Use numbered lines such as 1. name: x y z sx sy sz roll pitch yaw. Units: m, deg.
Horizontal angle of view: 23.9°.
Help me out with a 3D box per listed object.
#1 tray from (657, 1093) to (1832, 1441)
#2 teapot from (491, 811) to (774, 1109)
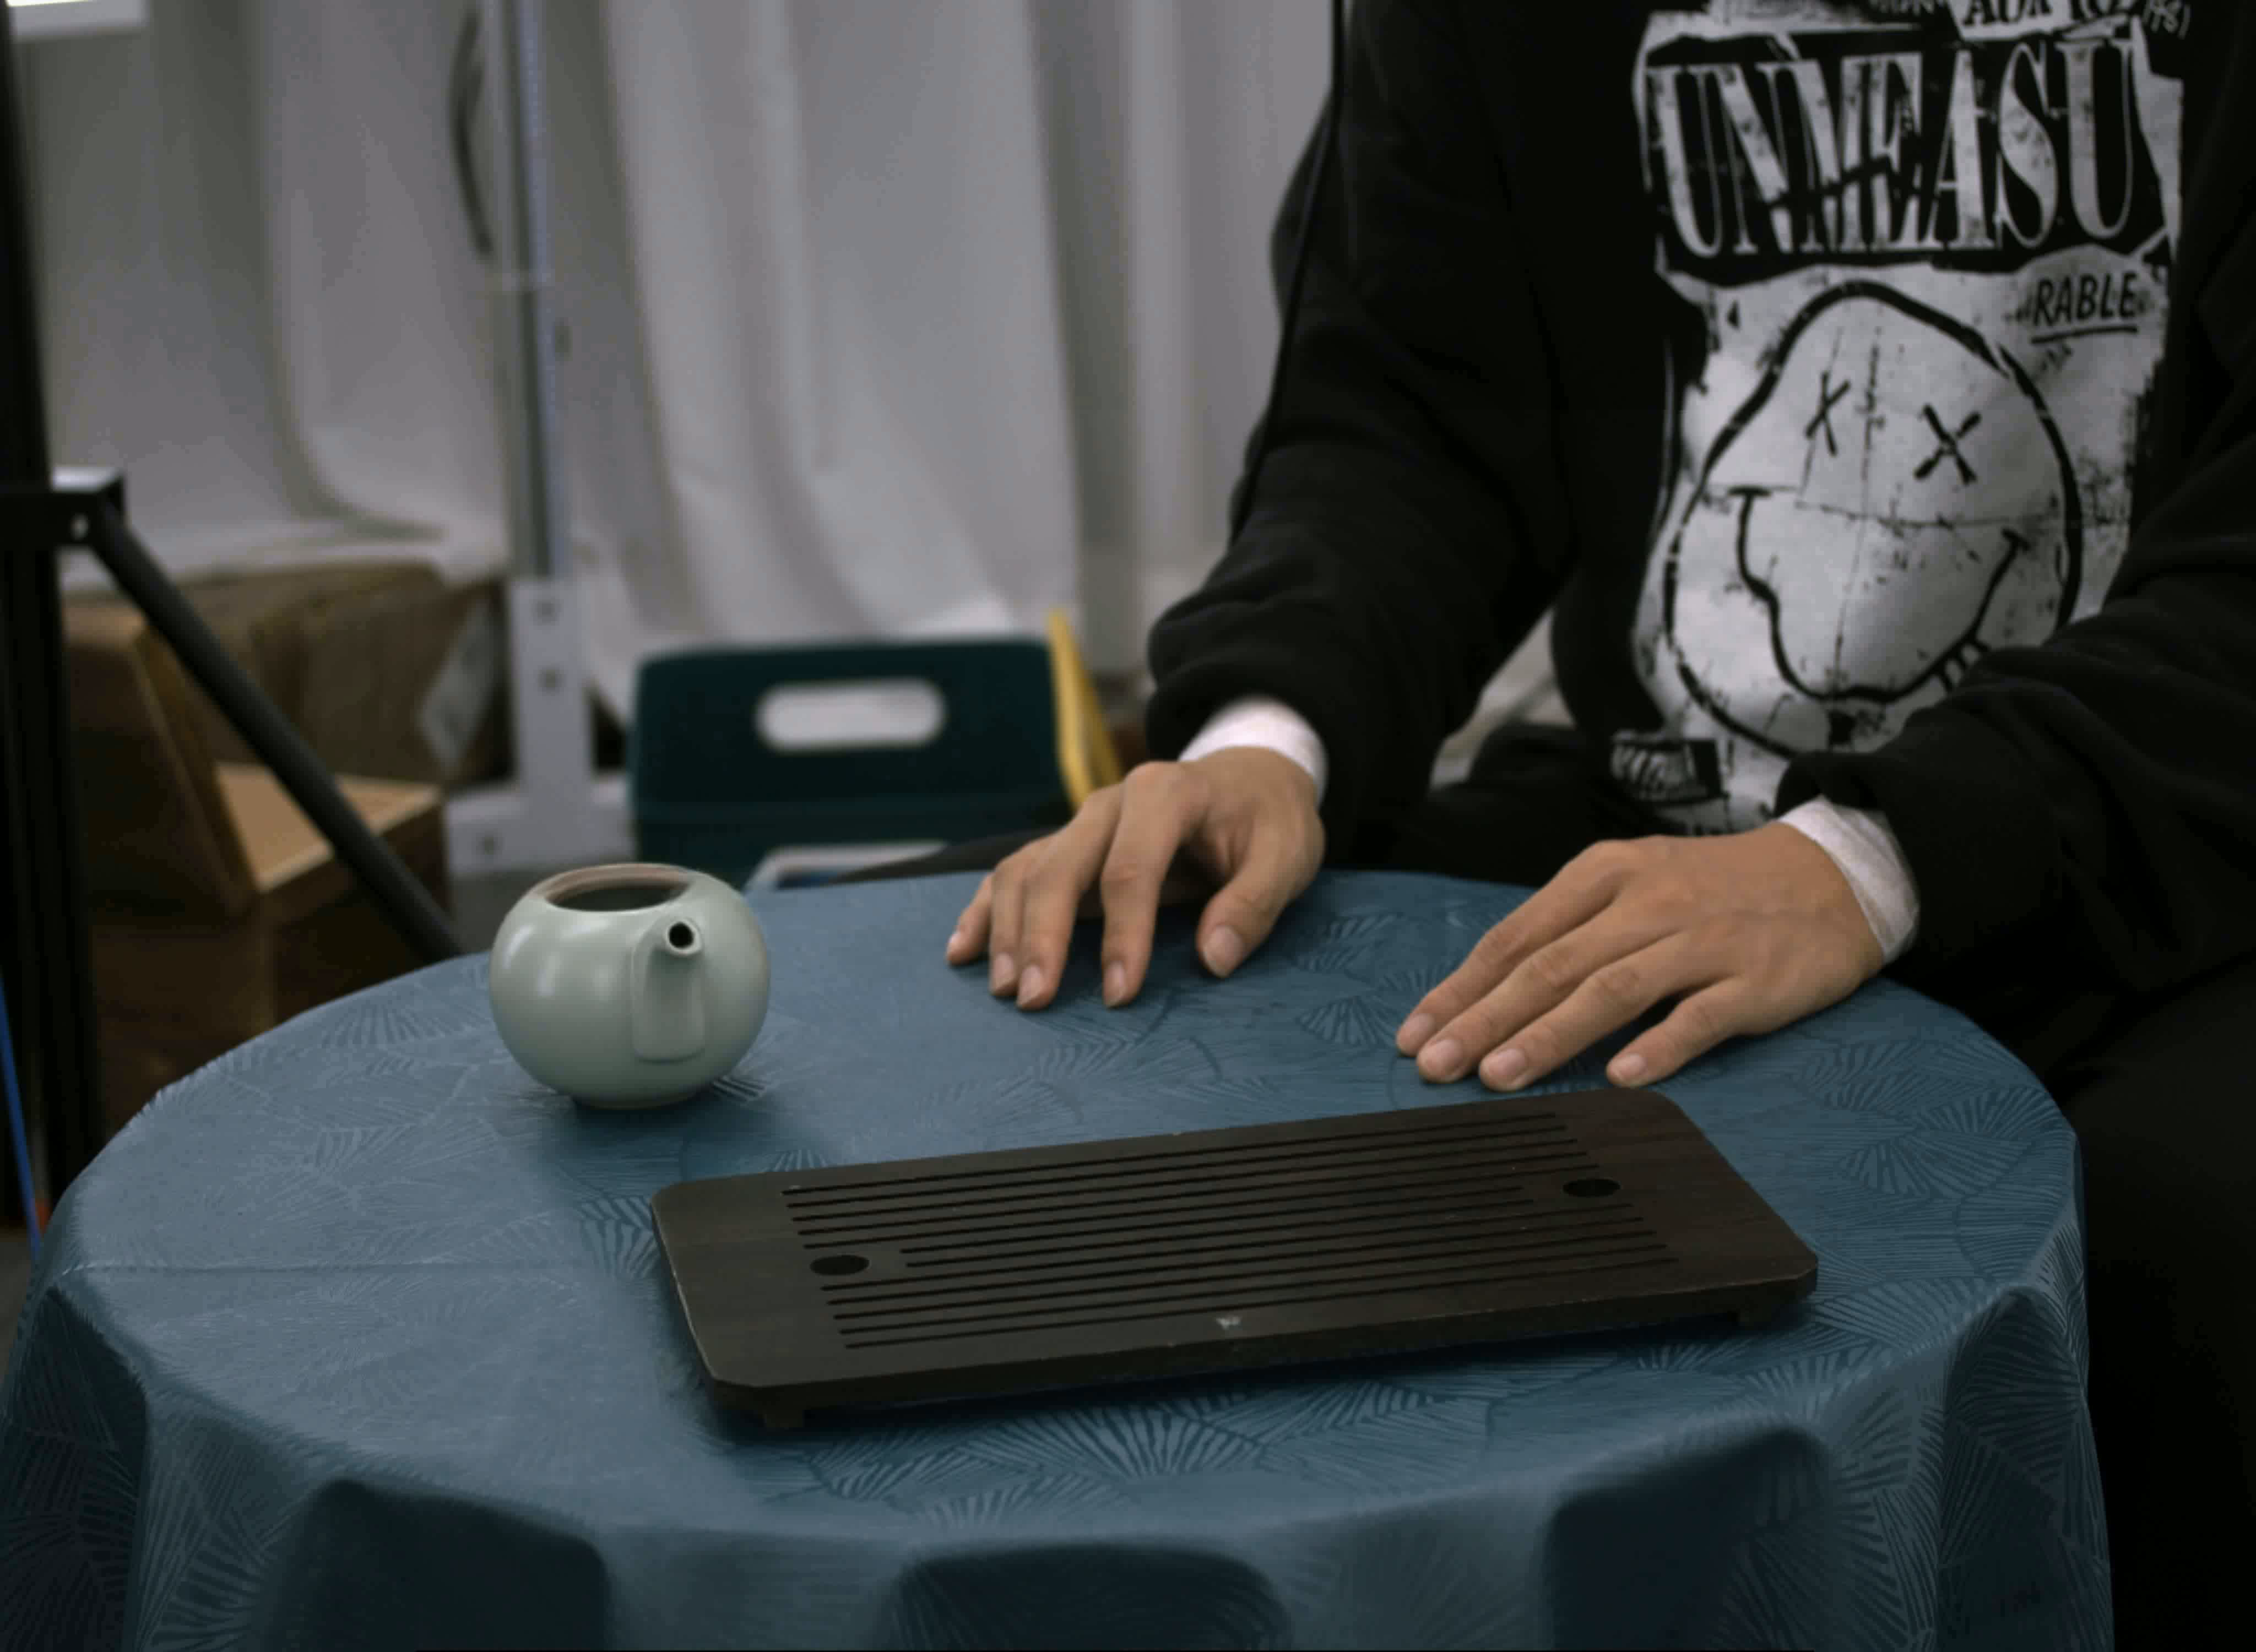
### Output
1. tray: 0.028 0.121 1.471 0.302 0.018 0.172 -5 16 -8
2. teapot: -0.154 0.047 1.662 0.087 0.075 0.146 -7 18 -17
